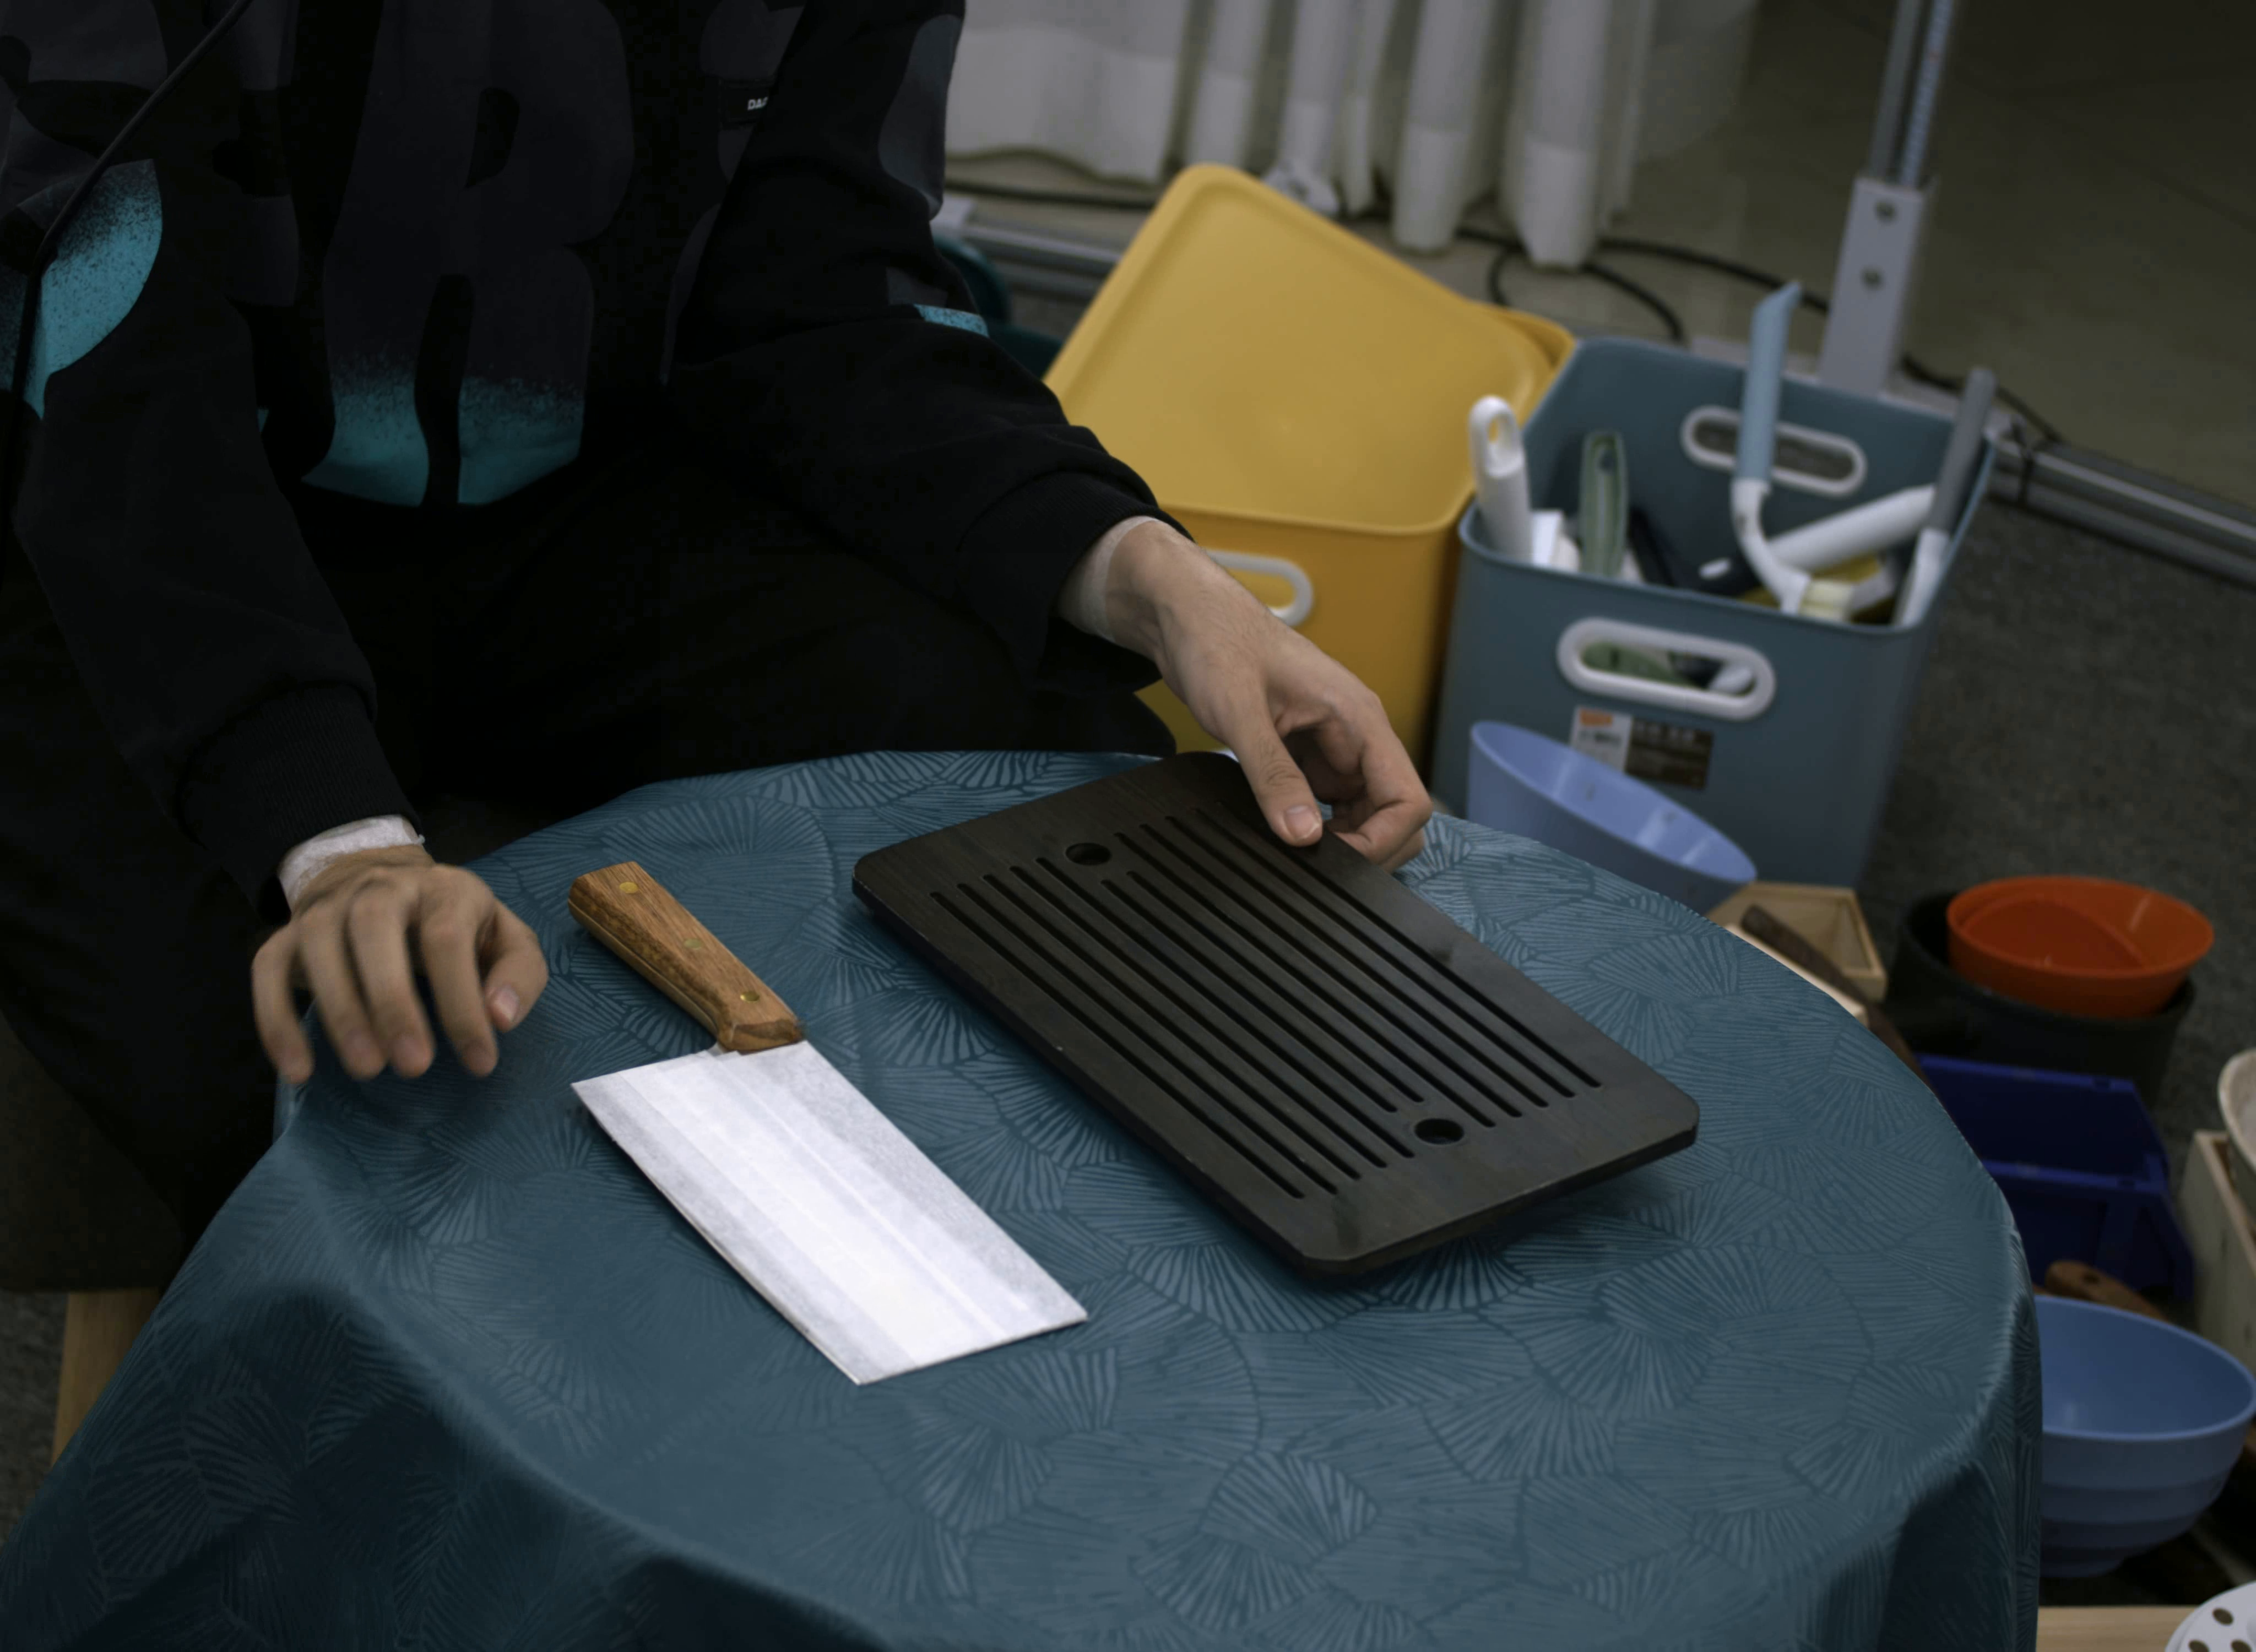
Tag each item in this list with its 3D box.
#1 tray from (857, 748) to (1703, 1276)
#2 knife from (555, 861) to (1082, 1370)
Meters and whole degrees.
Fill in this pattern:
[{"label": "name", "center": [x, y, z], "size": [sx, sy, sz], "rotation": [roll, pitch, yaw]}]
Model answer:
[{"label": "tray", "center": [0.049, 0.062, 1.896], "size": [0.169, 0.018, 0.308], "rotation": [-18, 35, -29]}, {"label": "knife", "center": [-0.131, 0.097, 1.809], "size": [0.092, 0.021, 0.308], "rotation": [-13, 35, -31]}]
